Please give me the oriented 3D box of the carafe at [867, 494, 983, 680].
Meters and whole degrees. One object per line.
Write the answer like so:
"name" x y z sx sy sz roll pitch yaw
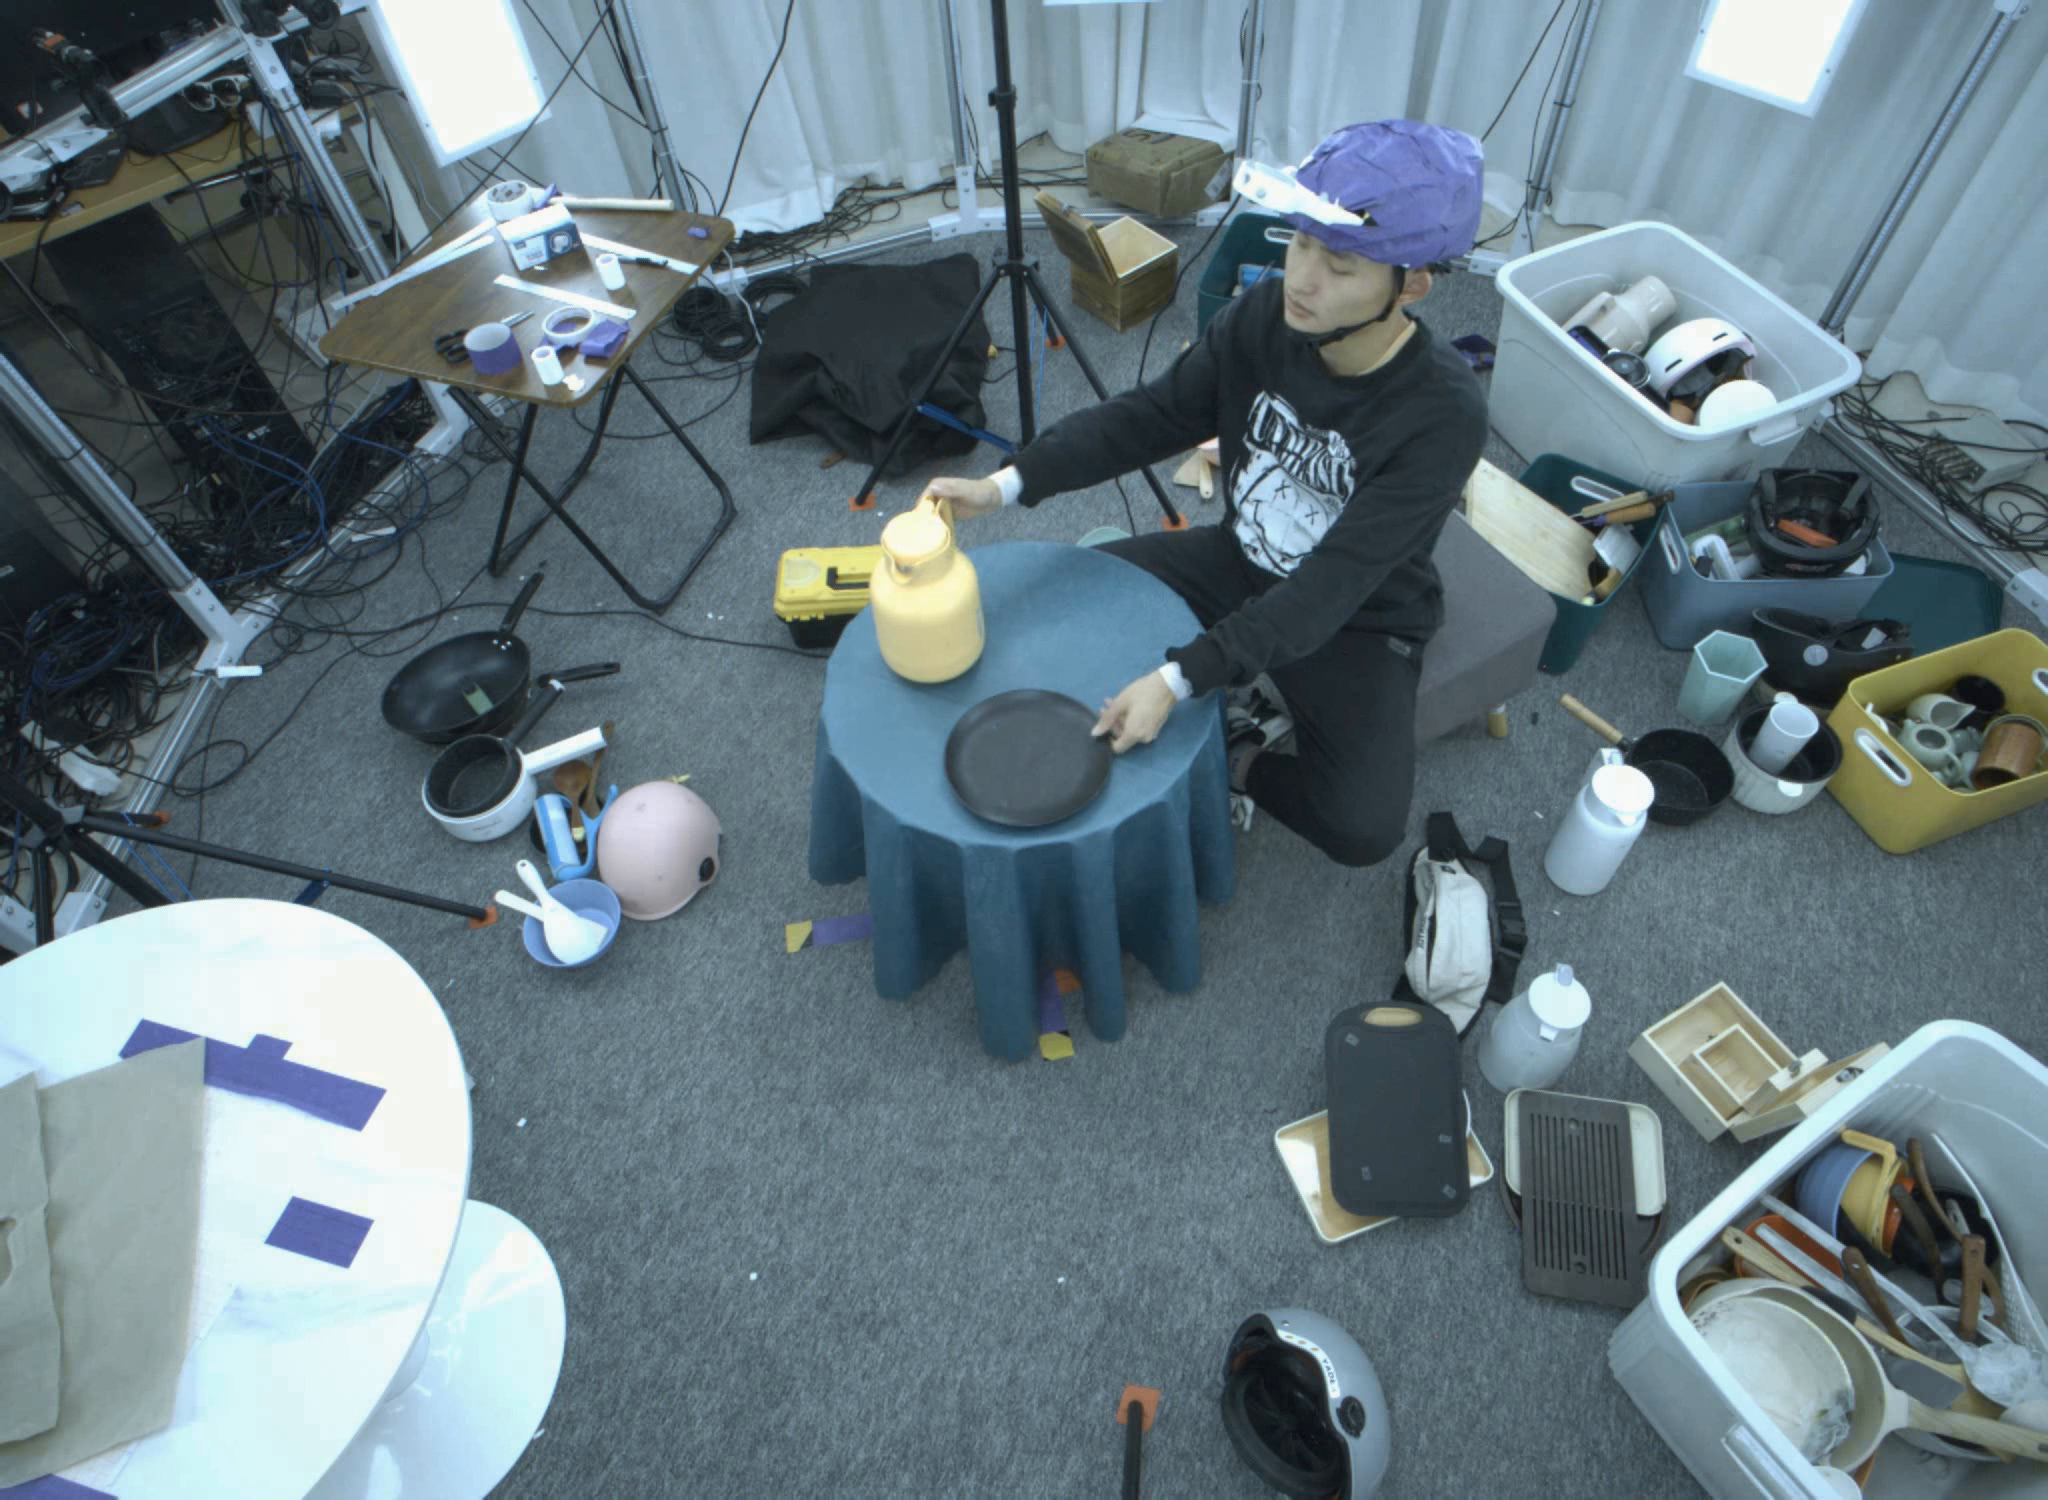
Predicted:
"carafe" -0.141 -0.246 1.801 0.162 0.263 0.202 13 58 10

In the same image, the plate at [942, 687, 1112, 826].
"plate" 0.004 0.011 1.761 0.244 0.024 0.242 0 55 2
